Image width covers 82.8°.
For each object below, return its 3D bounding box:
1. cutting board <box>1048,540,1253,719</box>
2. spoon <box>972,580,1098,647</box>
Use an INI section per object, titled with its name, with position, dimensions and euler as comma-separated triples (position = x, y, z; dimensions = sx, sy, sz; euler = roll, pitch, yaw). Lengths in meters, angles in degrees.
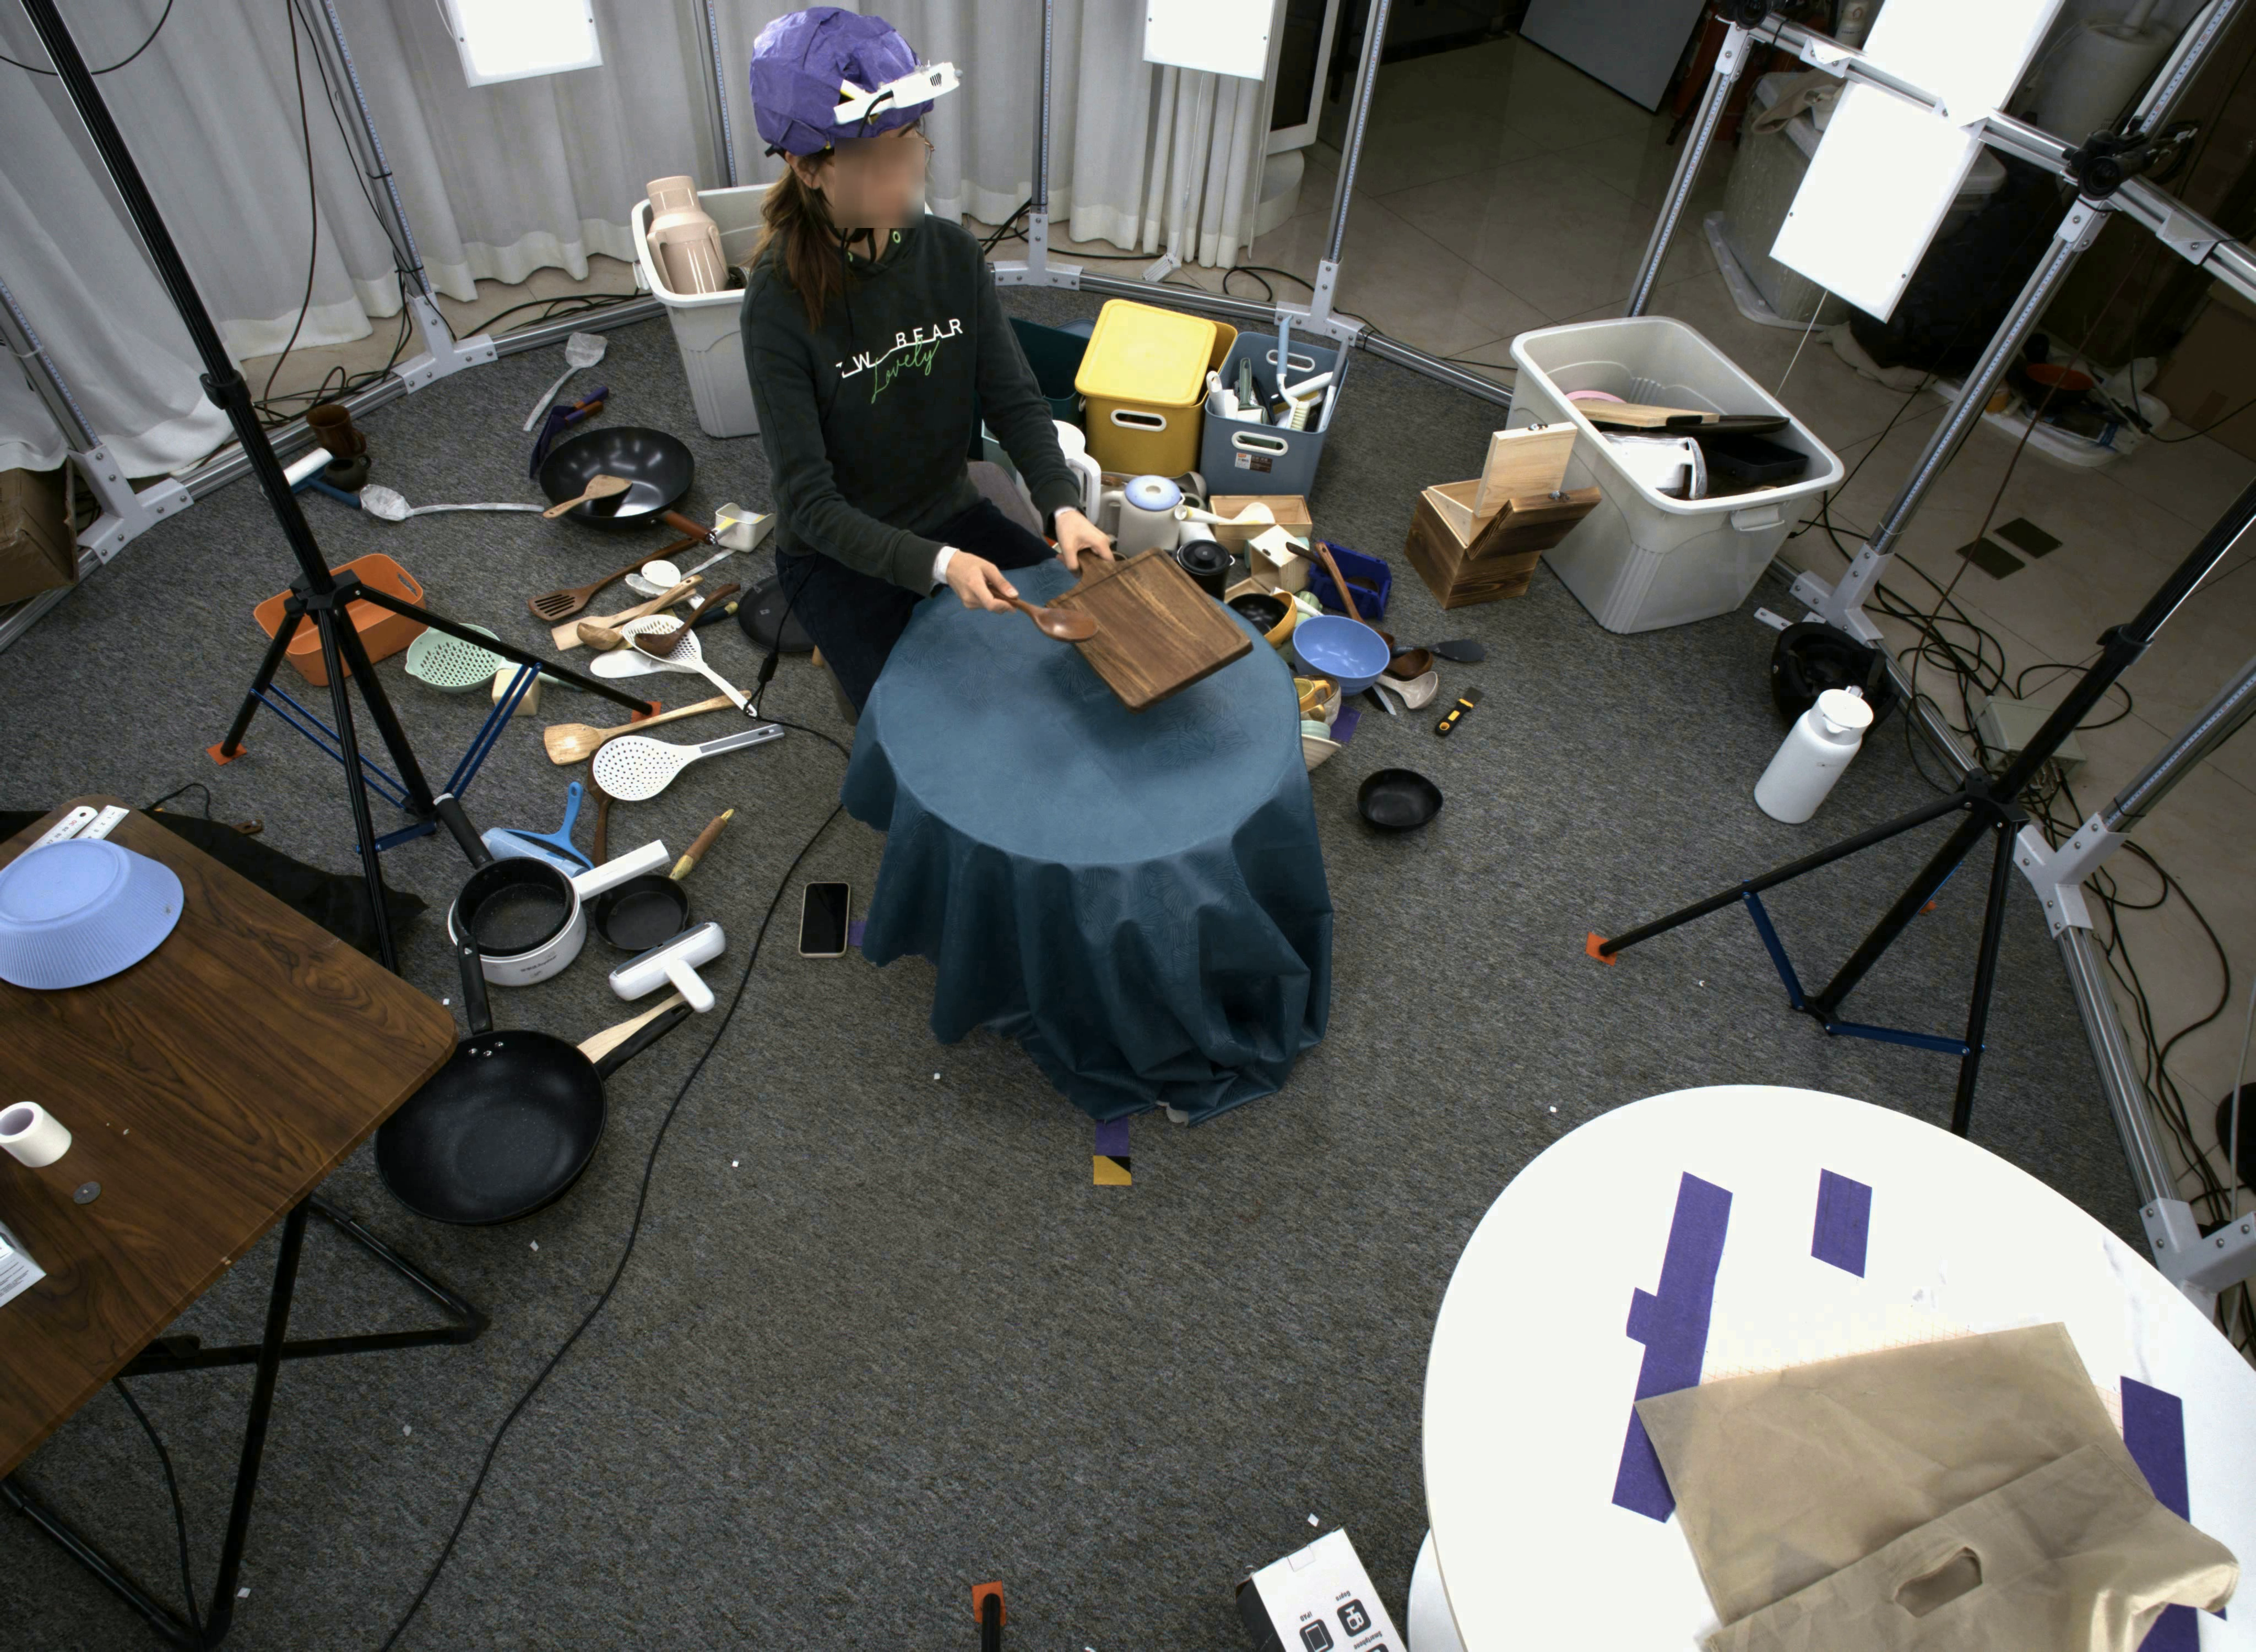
[cutting board]
position = 0.003, -0.308, 1.833
dimensions = 0.201, 0.022, 0.360
euler = -30, 53, -11
[spoon]
position = -0.131, -0.290, 1.756
dimensions = 0.219, 0.017, 0.076
euler = 30, 45, 28
